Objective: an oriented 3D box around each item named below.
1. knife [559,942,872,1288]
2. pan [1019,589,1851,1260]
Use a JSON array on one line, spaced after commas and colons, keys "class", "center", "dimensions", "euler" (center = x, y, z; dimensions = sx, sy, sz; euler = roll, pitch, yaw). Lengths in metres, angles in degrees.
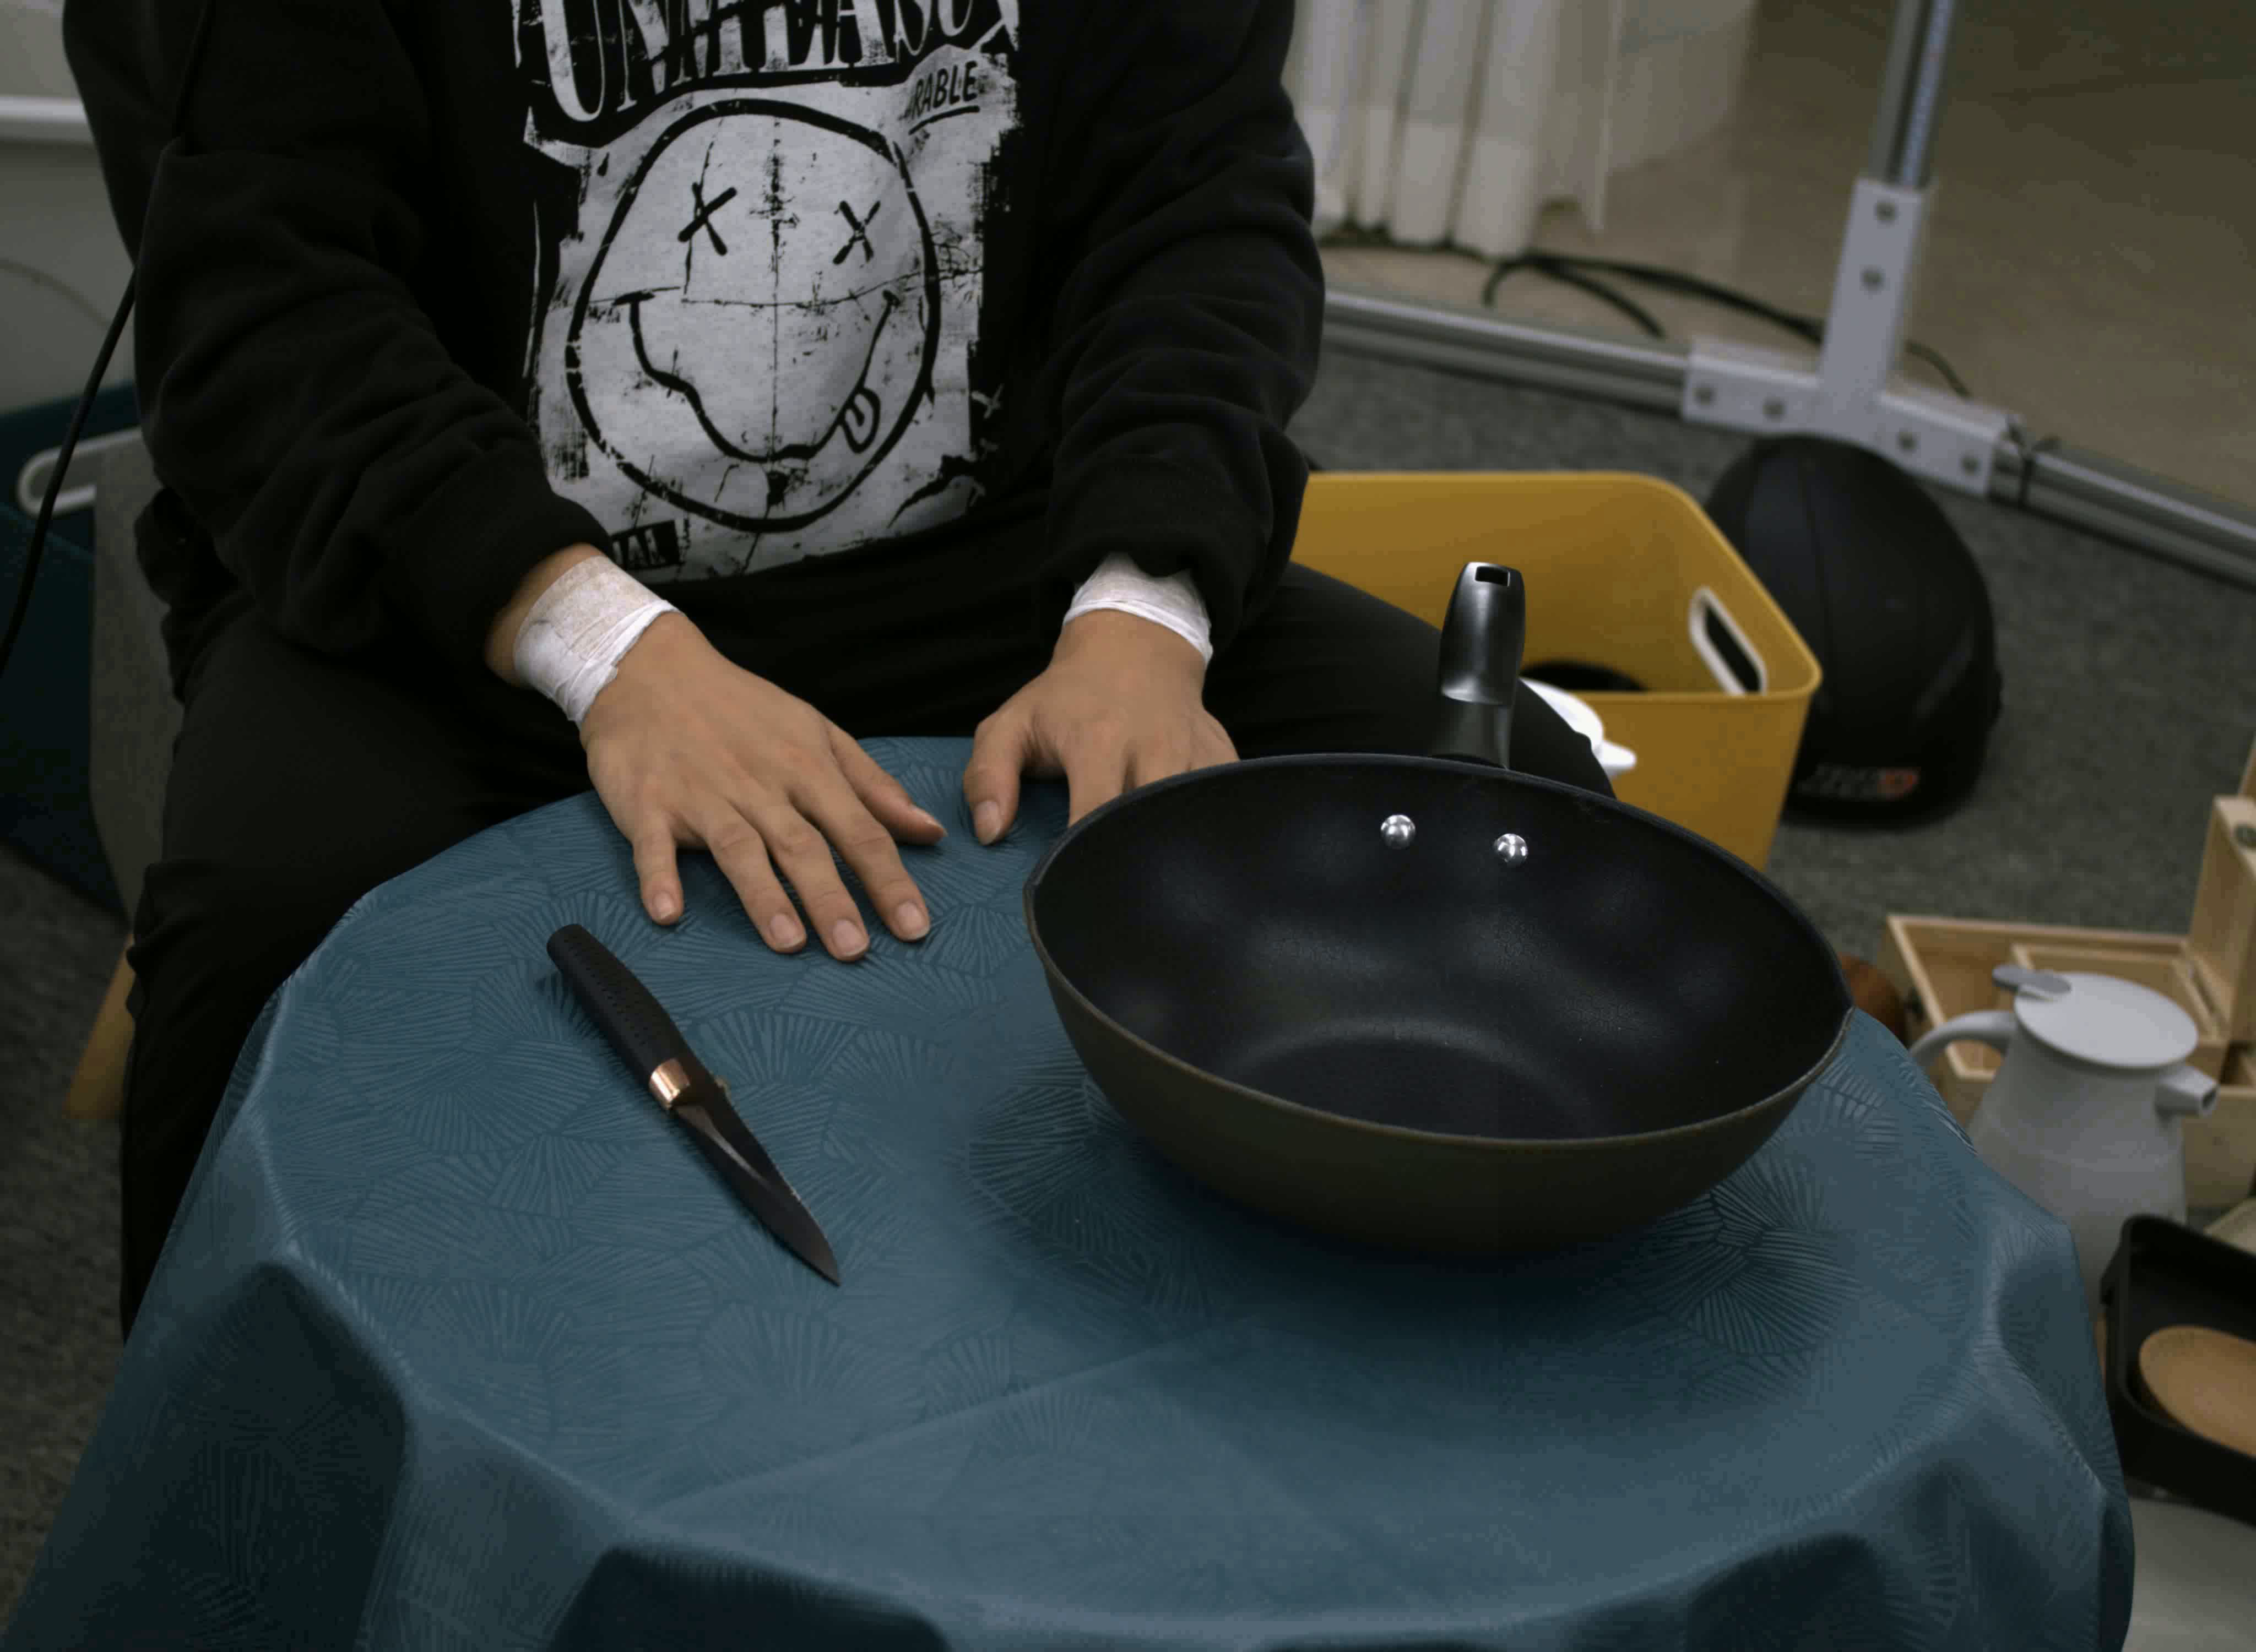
[{"class": "knife", "center": [-0.143, 0.097, 1.816], "dimensions": [0.026, 0.017, 0.227], "euler": [8, 23, -35]}, {"class": "pan", "center": [0.111, 0.035, 1.916], "dimensions": [0.287, 0.086, 0.465], "euler": [9, 26, 4]}]
